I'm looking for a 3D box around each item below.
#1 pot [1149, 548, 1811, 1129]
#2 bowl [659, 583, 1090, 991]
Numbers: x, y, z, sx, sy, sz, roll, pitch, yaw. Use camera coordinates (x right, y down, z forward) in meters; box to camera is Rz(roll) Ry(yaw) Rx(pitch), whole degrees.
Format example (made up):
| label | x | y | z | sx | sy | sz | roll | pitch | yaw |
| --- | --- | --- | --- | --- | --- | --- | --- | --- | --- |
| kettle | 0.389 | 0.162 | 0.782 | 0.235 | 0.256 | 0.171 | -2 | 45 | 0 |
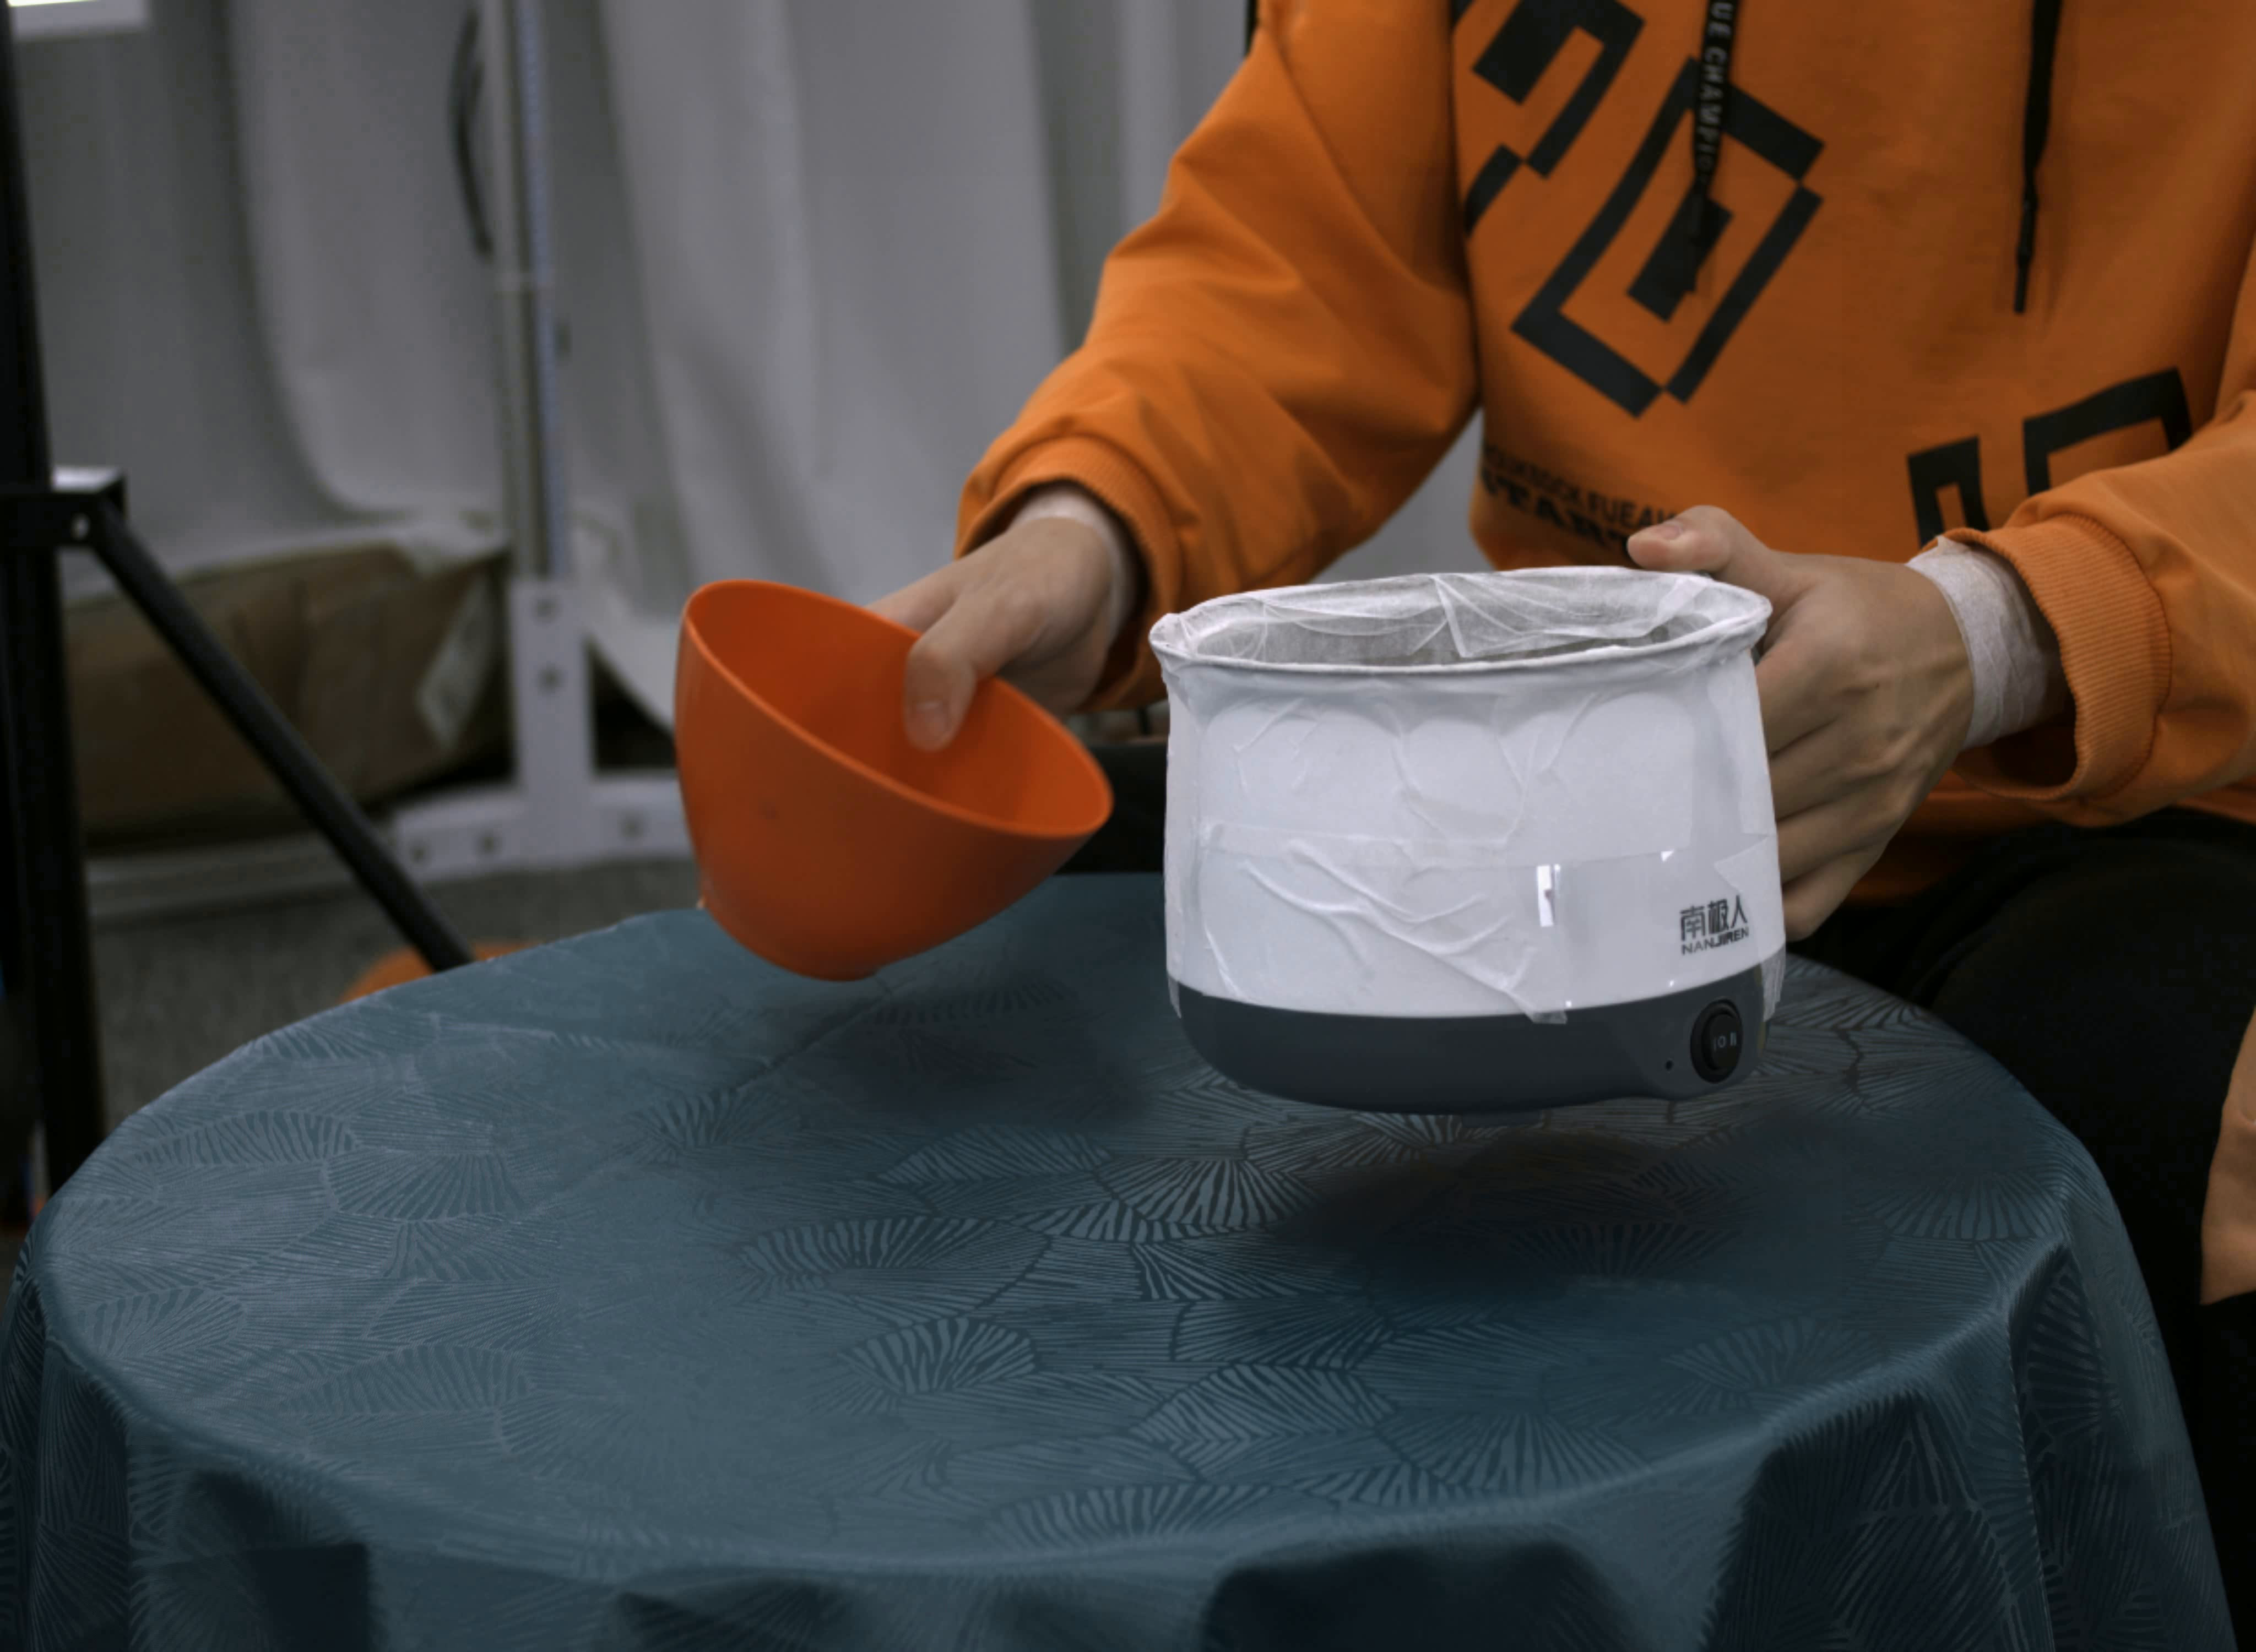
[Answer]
| label | x | y | z | sx | sy | sz | roll | pitch | yaw |
| --- | --- | --- | --- | --- | --- | --- | --- | --- | --- |
| pot | 0.115 | -0.002 | 1.526 | 0.182 | 0.137 | 0.228 | 7 | 14 | 42 |
| bowl | -0.094 | -0.003 | 1.679 | 0.146 | 0.105 | 0.149 | 23 | 28 | -15 |
